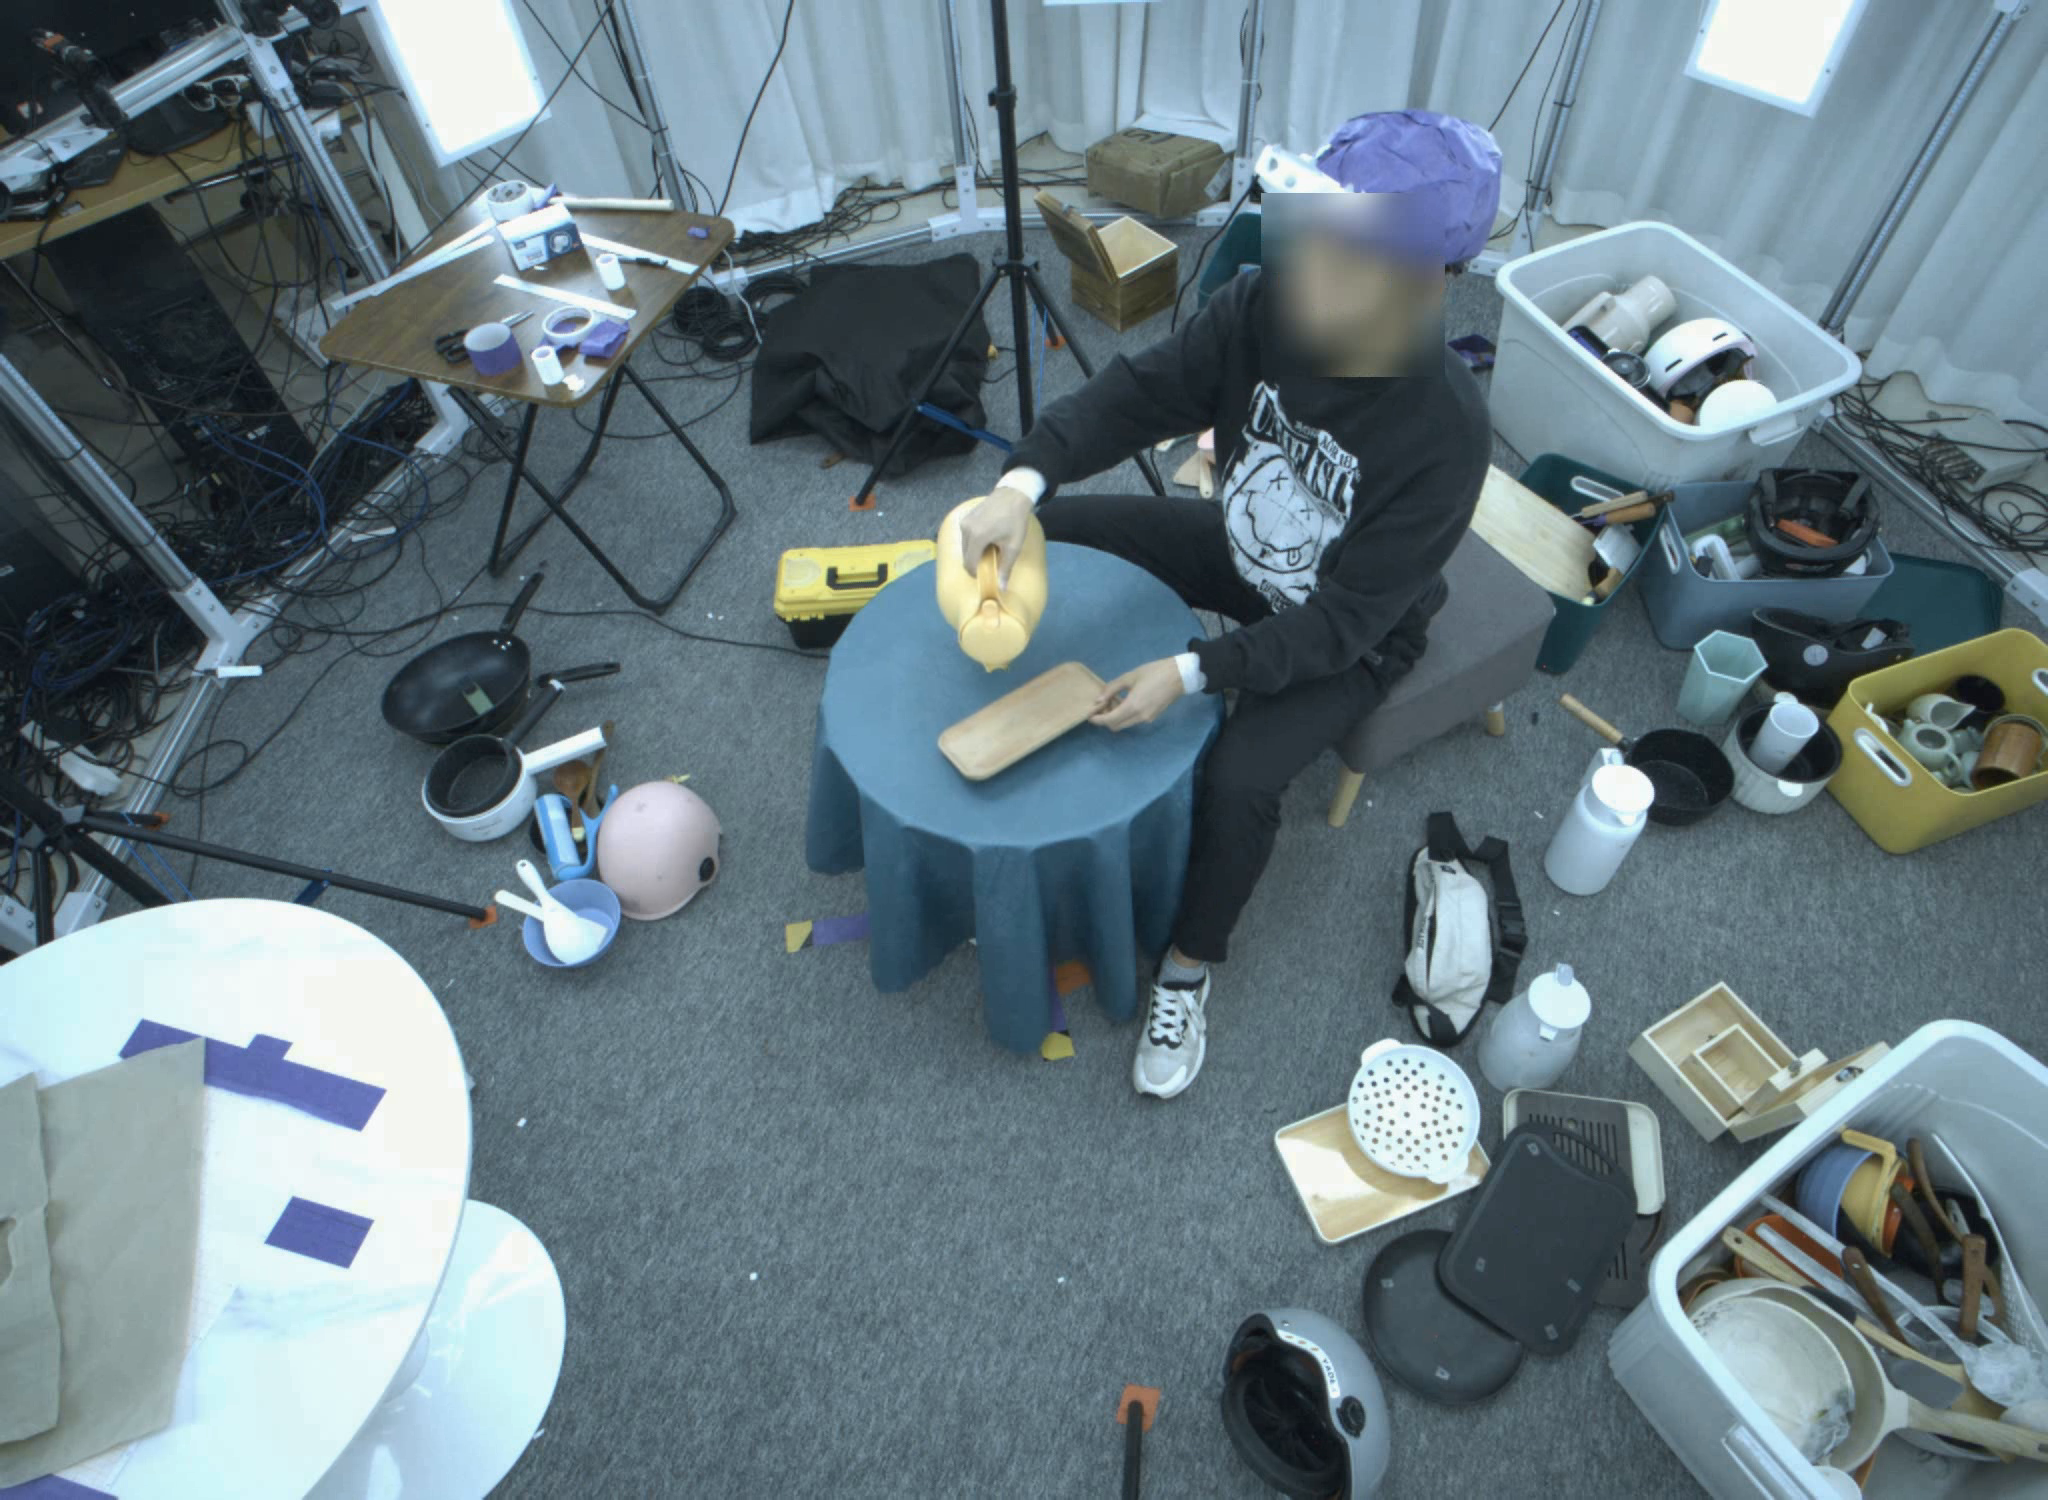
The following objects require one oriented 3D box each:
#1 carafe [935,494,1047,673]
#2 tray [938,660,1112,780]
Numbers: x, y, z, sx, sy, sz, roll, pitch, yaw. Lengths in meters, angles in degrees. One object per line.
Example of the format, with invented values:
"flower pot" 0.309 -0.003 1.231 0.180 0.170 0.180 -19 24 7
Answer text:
"carafe" -0.047 -0.252 1.747 0.164 0.204 0.257 -3 49 -2
"tray" 0.002 -0.045 1.779 0.252 0.023 0.127 -29 46 -14
